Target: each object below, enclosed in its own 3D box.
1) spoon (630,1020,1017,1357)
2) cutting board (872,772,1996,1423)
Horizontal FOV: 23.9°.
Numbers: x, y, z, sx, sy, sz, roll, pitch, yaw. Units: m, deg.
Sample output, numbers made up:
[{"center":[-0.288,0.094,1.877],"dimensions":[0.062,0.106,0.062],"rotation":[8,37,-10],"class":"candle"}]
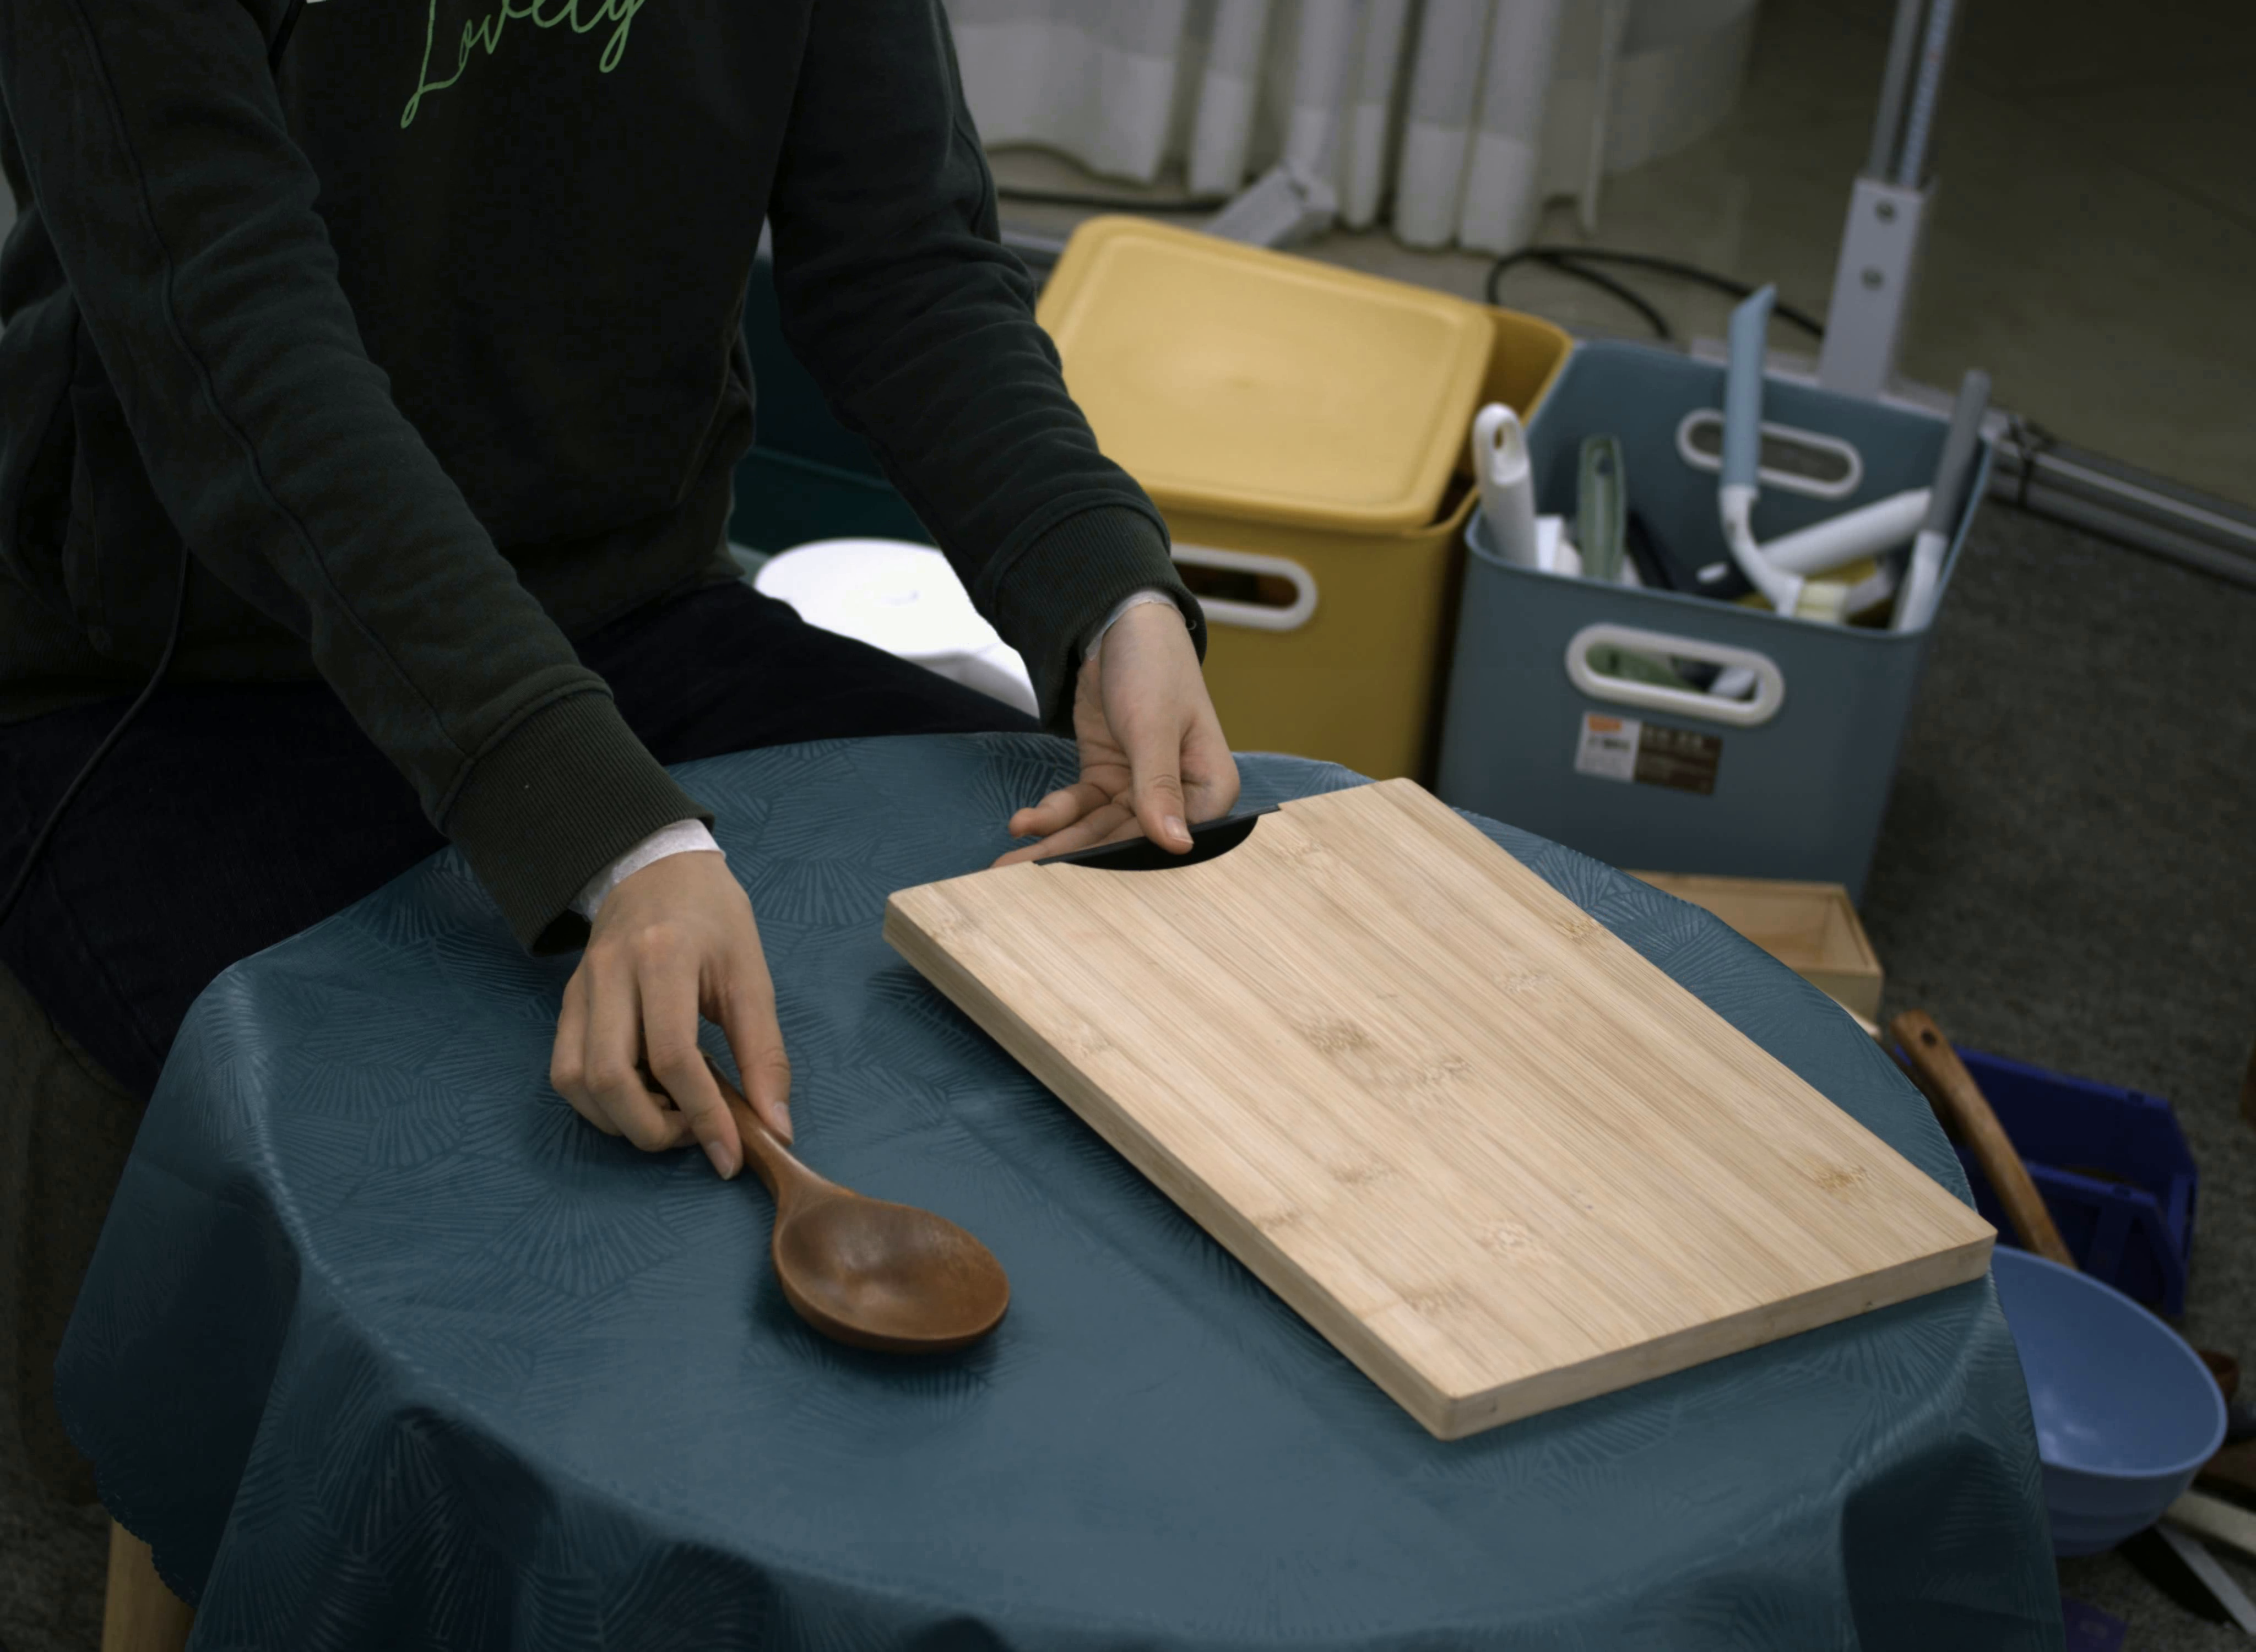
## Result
[{"center":[-0.109,0.120,1.763],"dimensions":[0.075,0.017,0.218],"rotation":[-12,32,-29],"class":"spoon"},{"center":[0.101,0.087,1.865],"dimensions":[0.249,0.023,0.352],"rotation":[-12,34,-34],"class":"cutting board"}]
